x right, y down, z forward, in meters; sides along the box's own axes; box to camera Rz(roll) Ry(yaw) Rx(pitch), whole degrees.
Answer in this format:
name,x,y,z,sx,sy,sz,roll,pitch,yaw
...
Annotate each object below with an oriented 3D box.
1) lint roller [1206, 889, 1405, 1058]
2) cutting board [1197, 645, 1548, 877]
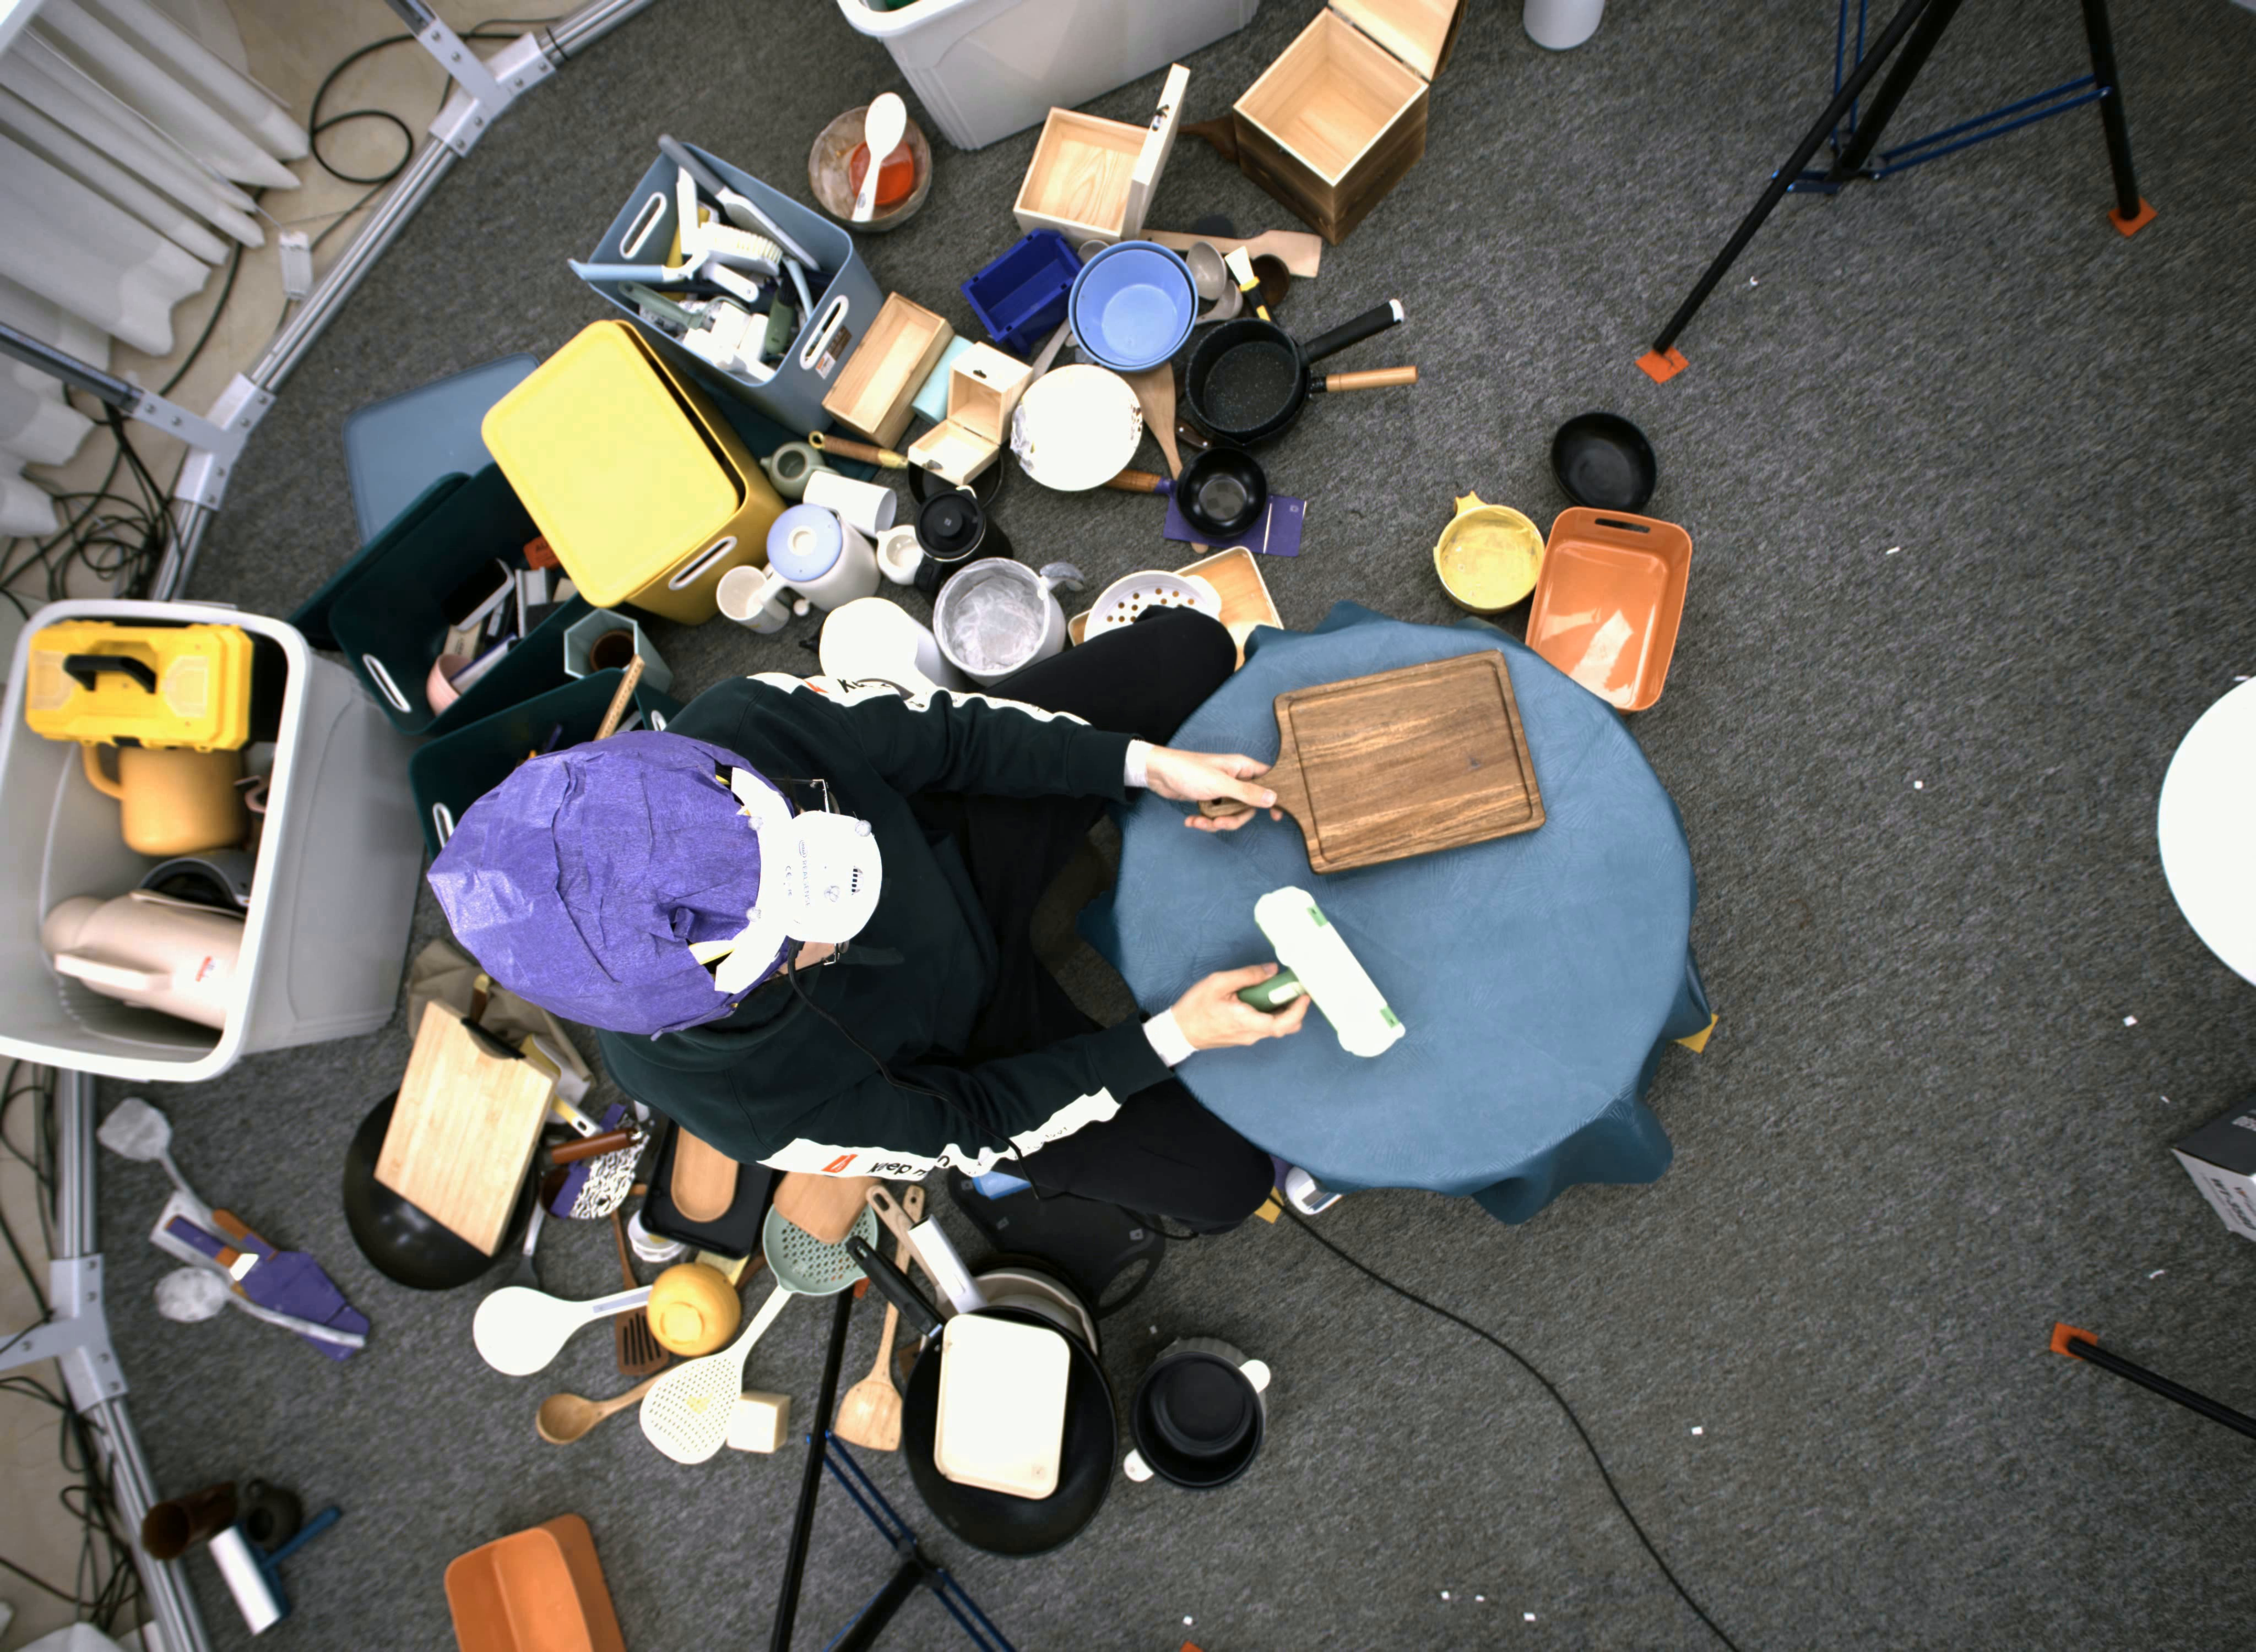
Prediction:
name,x,y,z,sx,sy,sz,roll,pitch,yaw
lint roller,0.152,0.175,1.394,0.186,0.080,0.200,-29,112,24
cutting board,0.243,-0.060,1.431,0.353,0.023,0.200,-13,84,1
